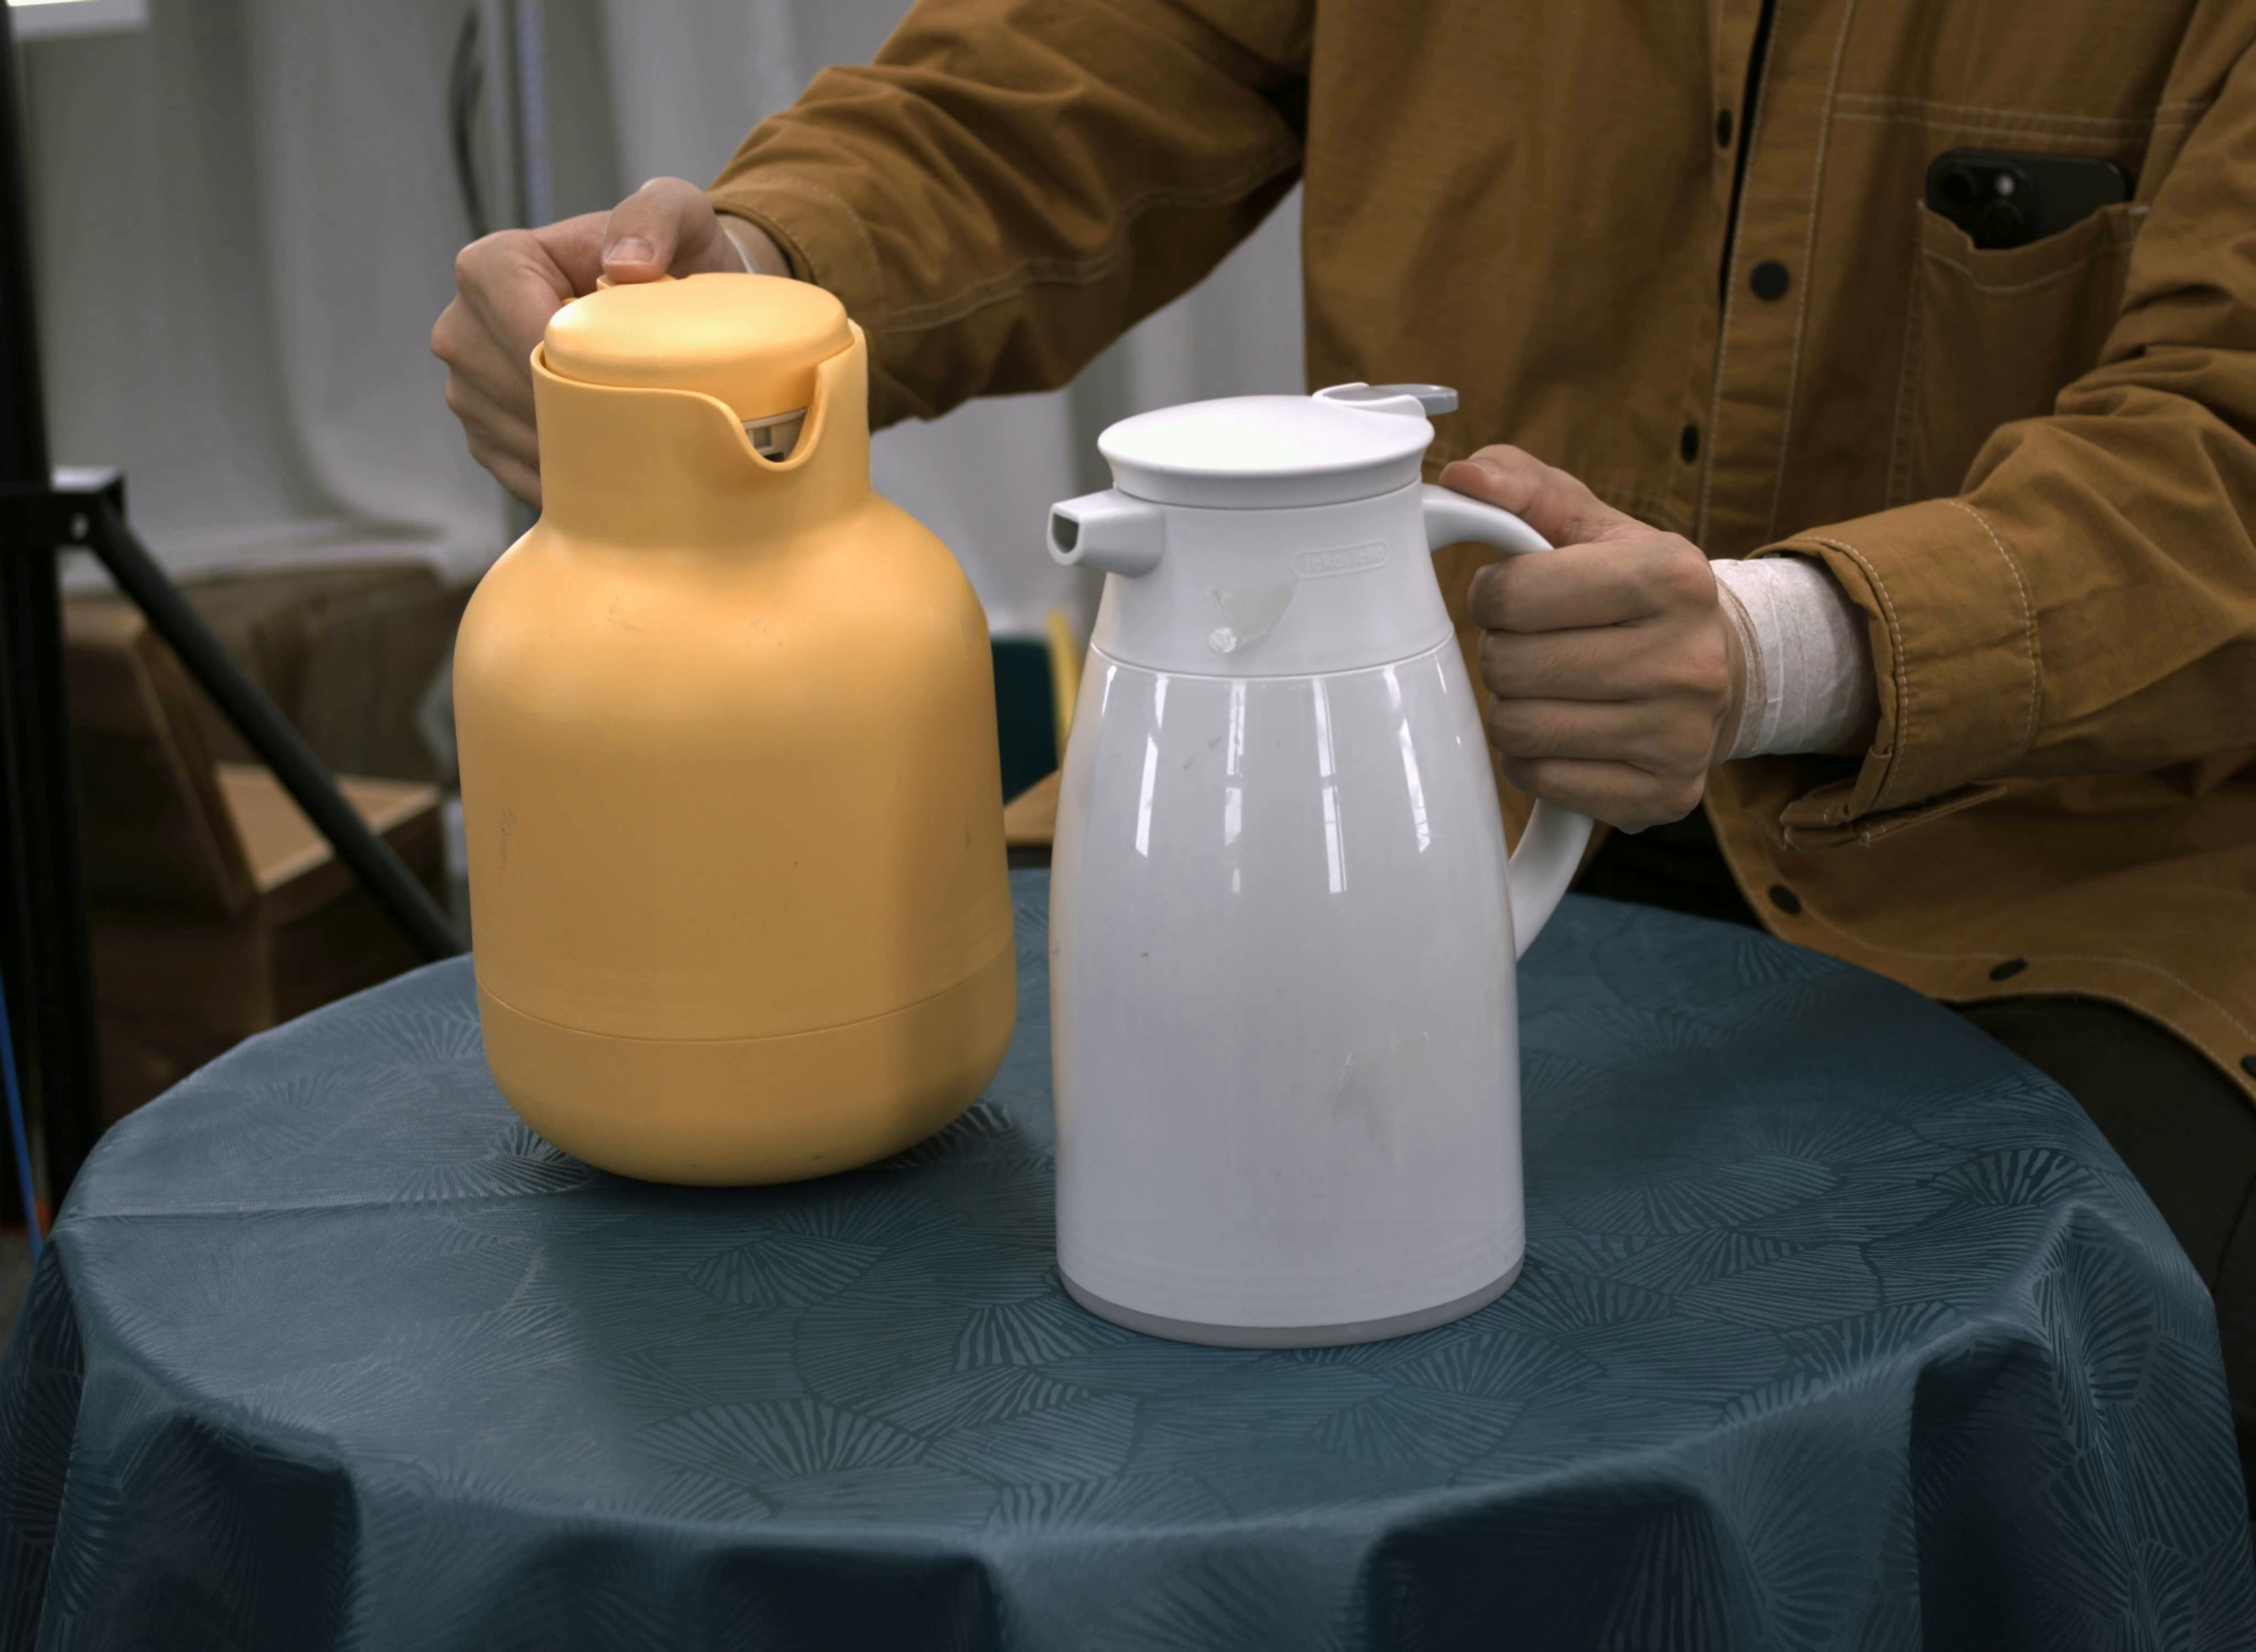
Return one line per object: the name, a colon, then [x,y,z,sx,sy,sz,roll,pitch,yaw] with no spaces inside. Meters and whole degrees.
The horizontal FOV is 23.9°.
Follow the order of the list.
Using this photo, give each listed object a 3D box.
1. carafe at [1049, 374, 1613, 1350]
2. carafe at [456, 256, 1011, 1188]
carafe: [0.058,0.002,1.467,0.164,0.248,0.135,-9,16,-25]
carafe: [-0.124,-0.040,1.603,0.160,0.260,0.206,-8,21,-18]
